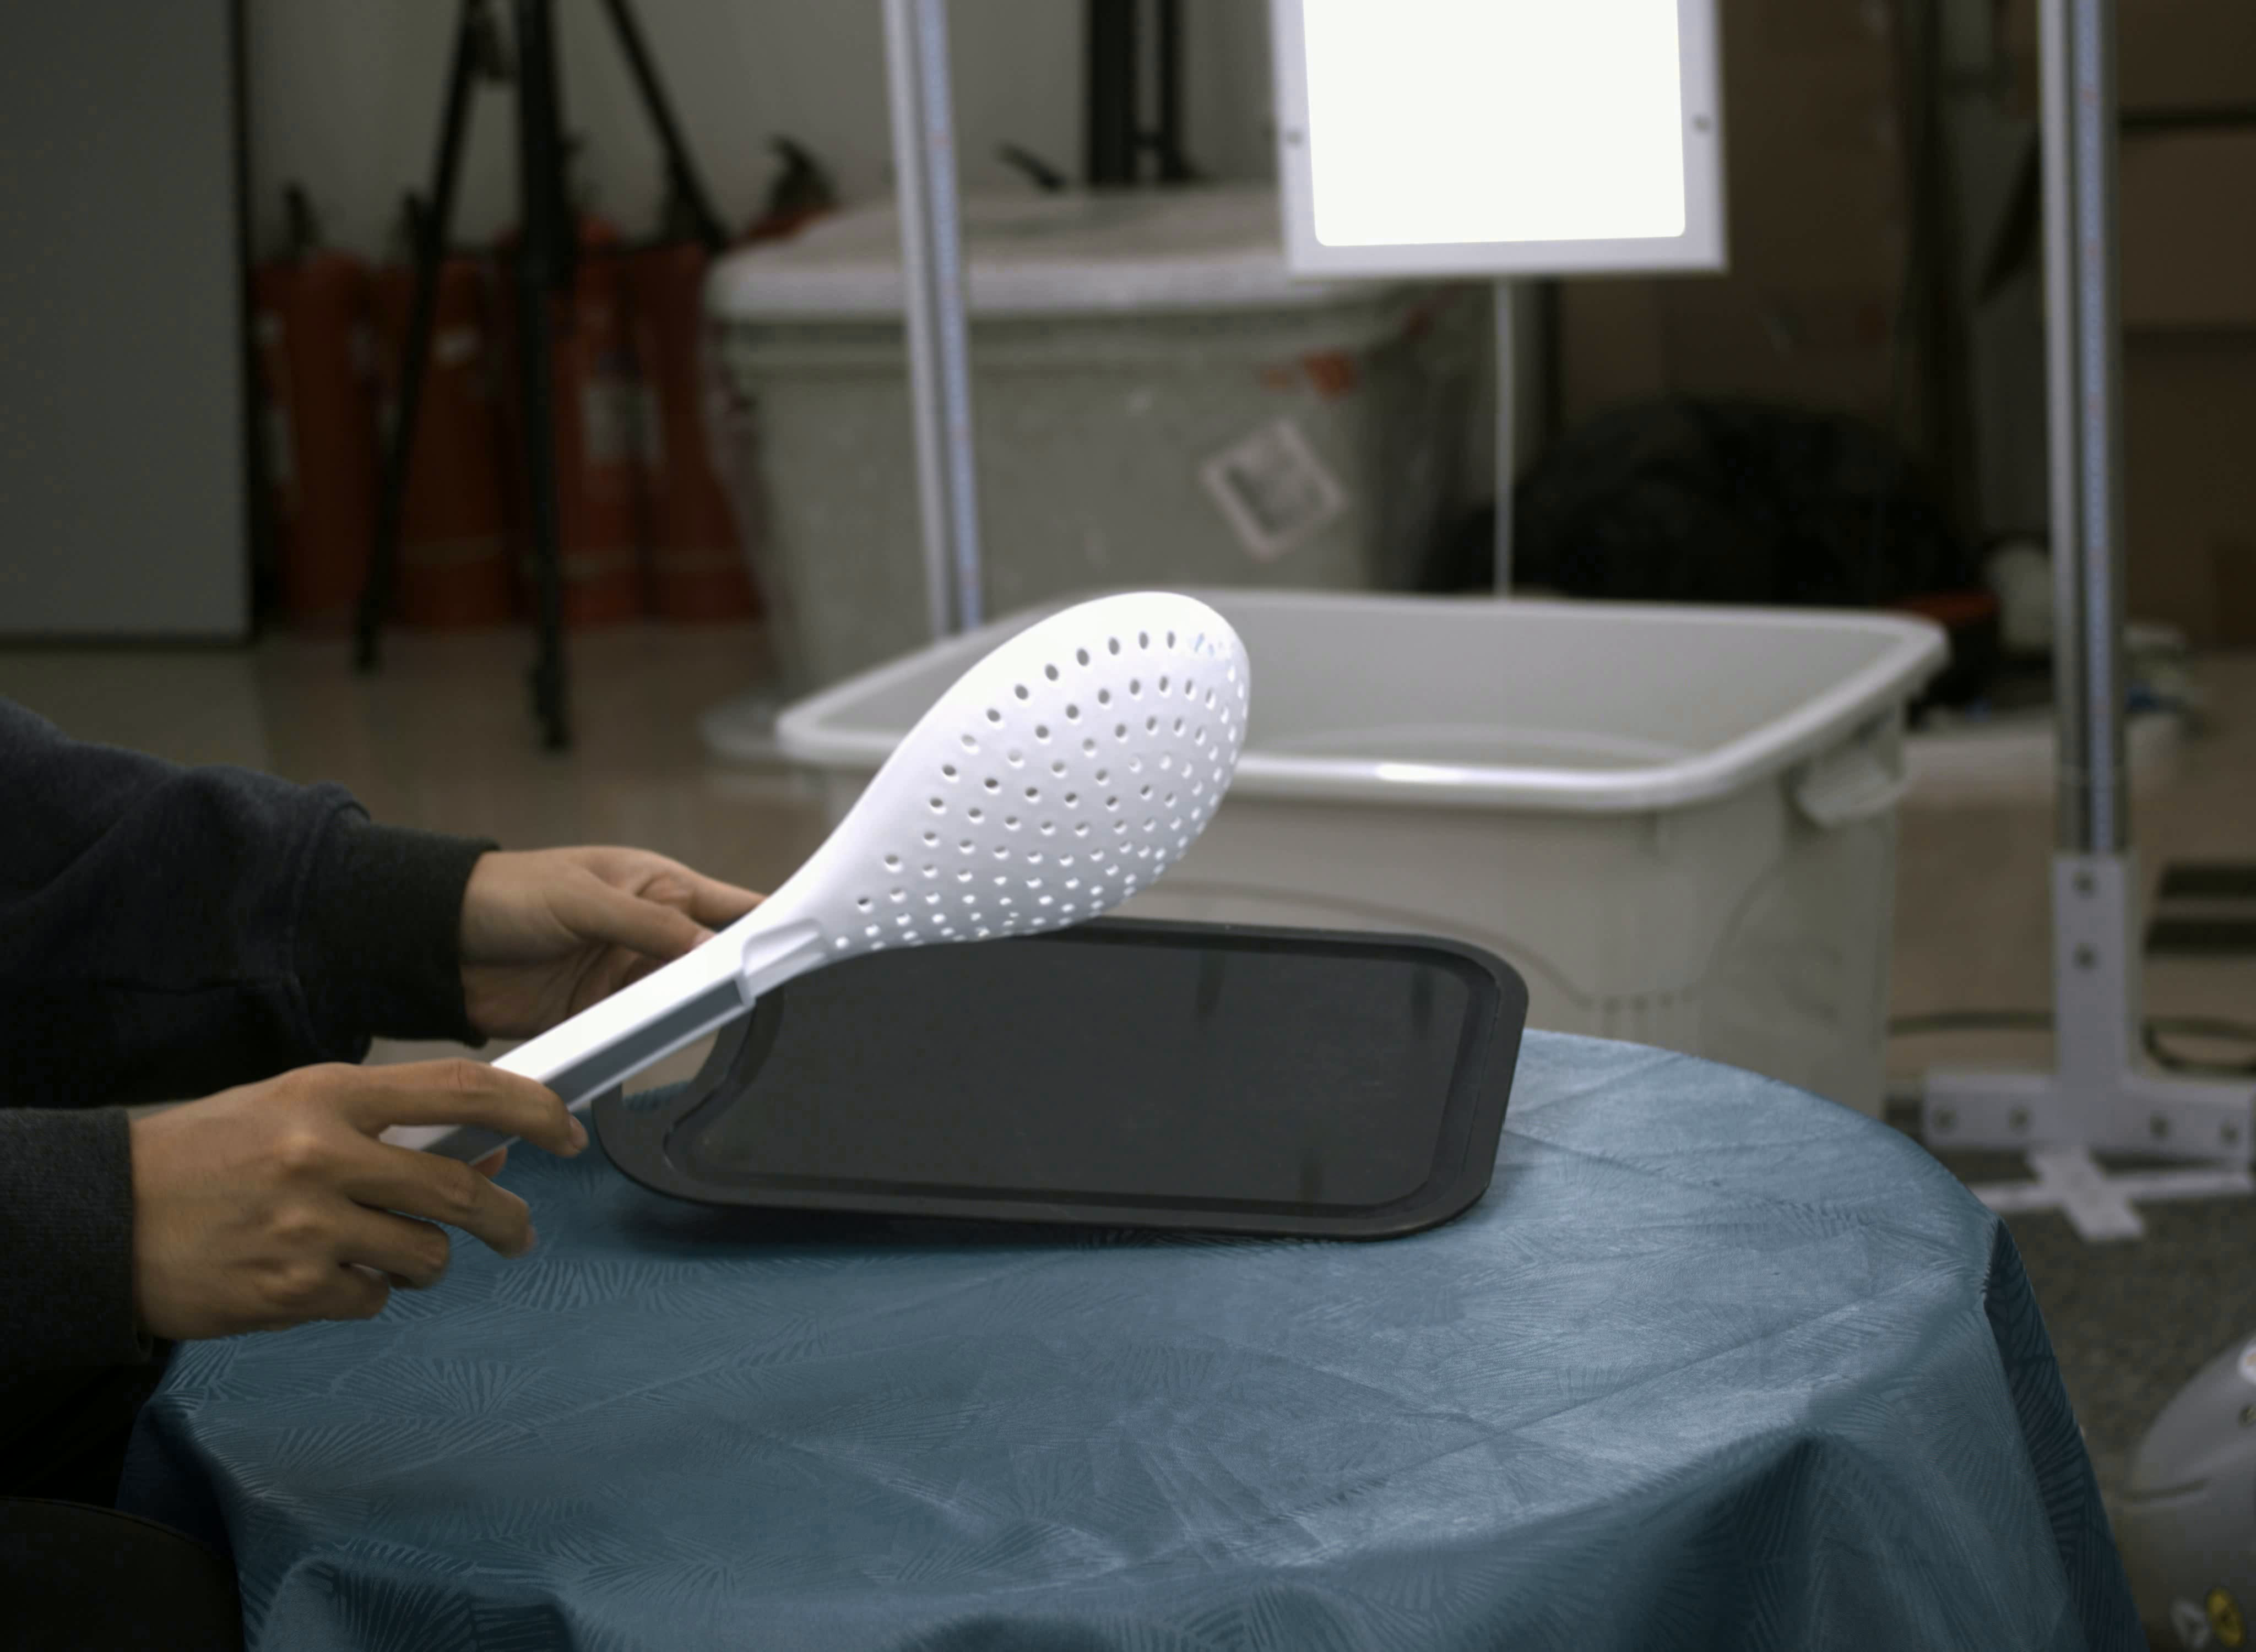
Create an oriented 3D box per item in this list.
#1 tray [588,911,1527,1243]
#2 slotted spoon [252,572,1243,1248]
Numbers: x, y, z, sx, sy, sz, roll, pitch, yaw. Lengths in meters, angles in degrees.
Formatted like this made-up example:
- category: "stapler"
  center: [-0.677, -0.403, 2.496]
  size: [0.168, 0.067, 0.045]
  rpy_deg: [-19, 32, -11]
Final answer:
- category: "tray"
  center: [-0.027, 0.082, 1.933]
  size: [0.327, 0.010, 0.208]
  rpy_deg: [3, 28, 11]
- category: "slotted spoon"
  center: [-0.110, 0.033, 1.682]
  size: [0.347, 0.136, 0.046]
  rpy_deg: [-26, 52, -7]
